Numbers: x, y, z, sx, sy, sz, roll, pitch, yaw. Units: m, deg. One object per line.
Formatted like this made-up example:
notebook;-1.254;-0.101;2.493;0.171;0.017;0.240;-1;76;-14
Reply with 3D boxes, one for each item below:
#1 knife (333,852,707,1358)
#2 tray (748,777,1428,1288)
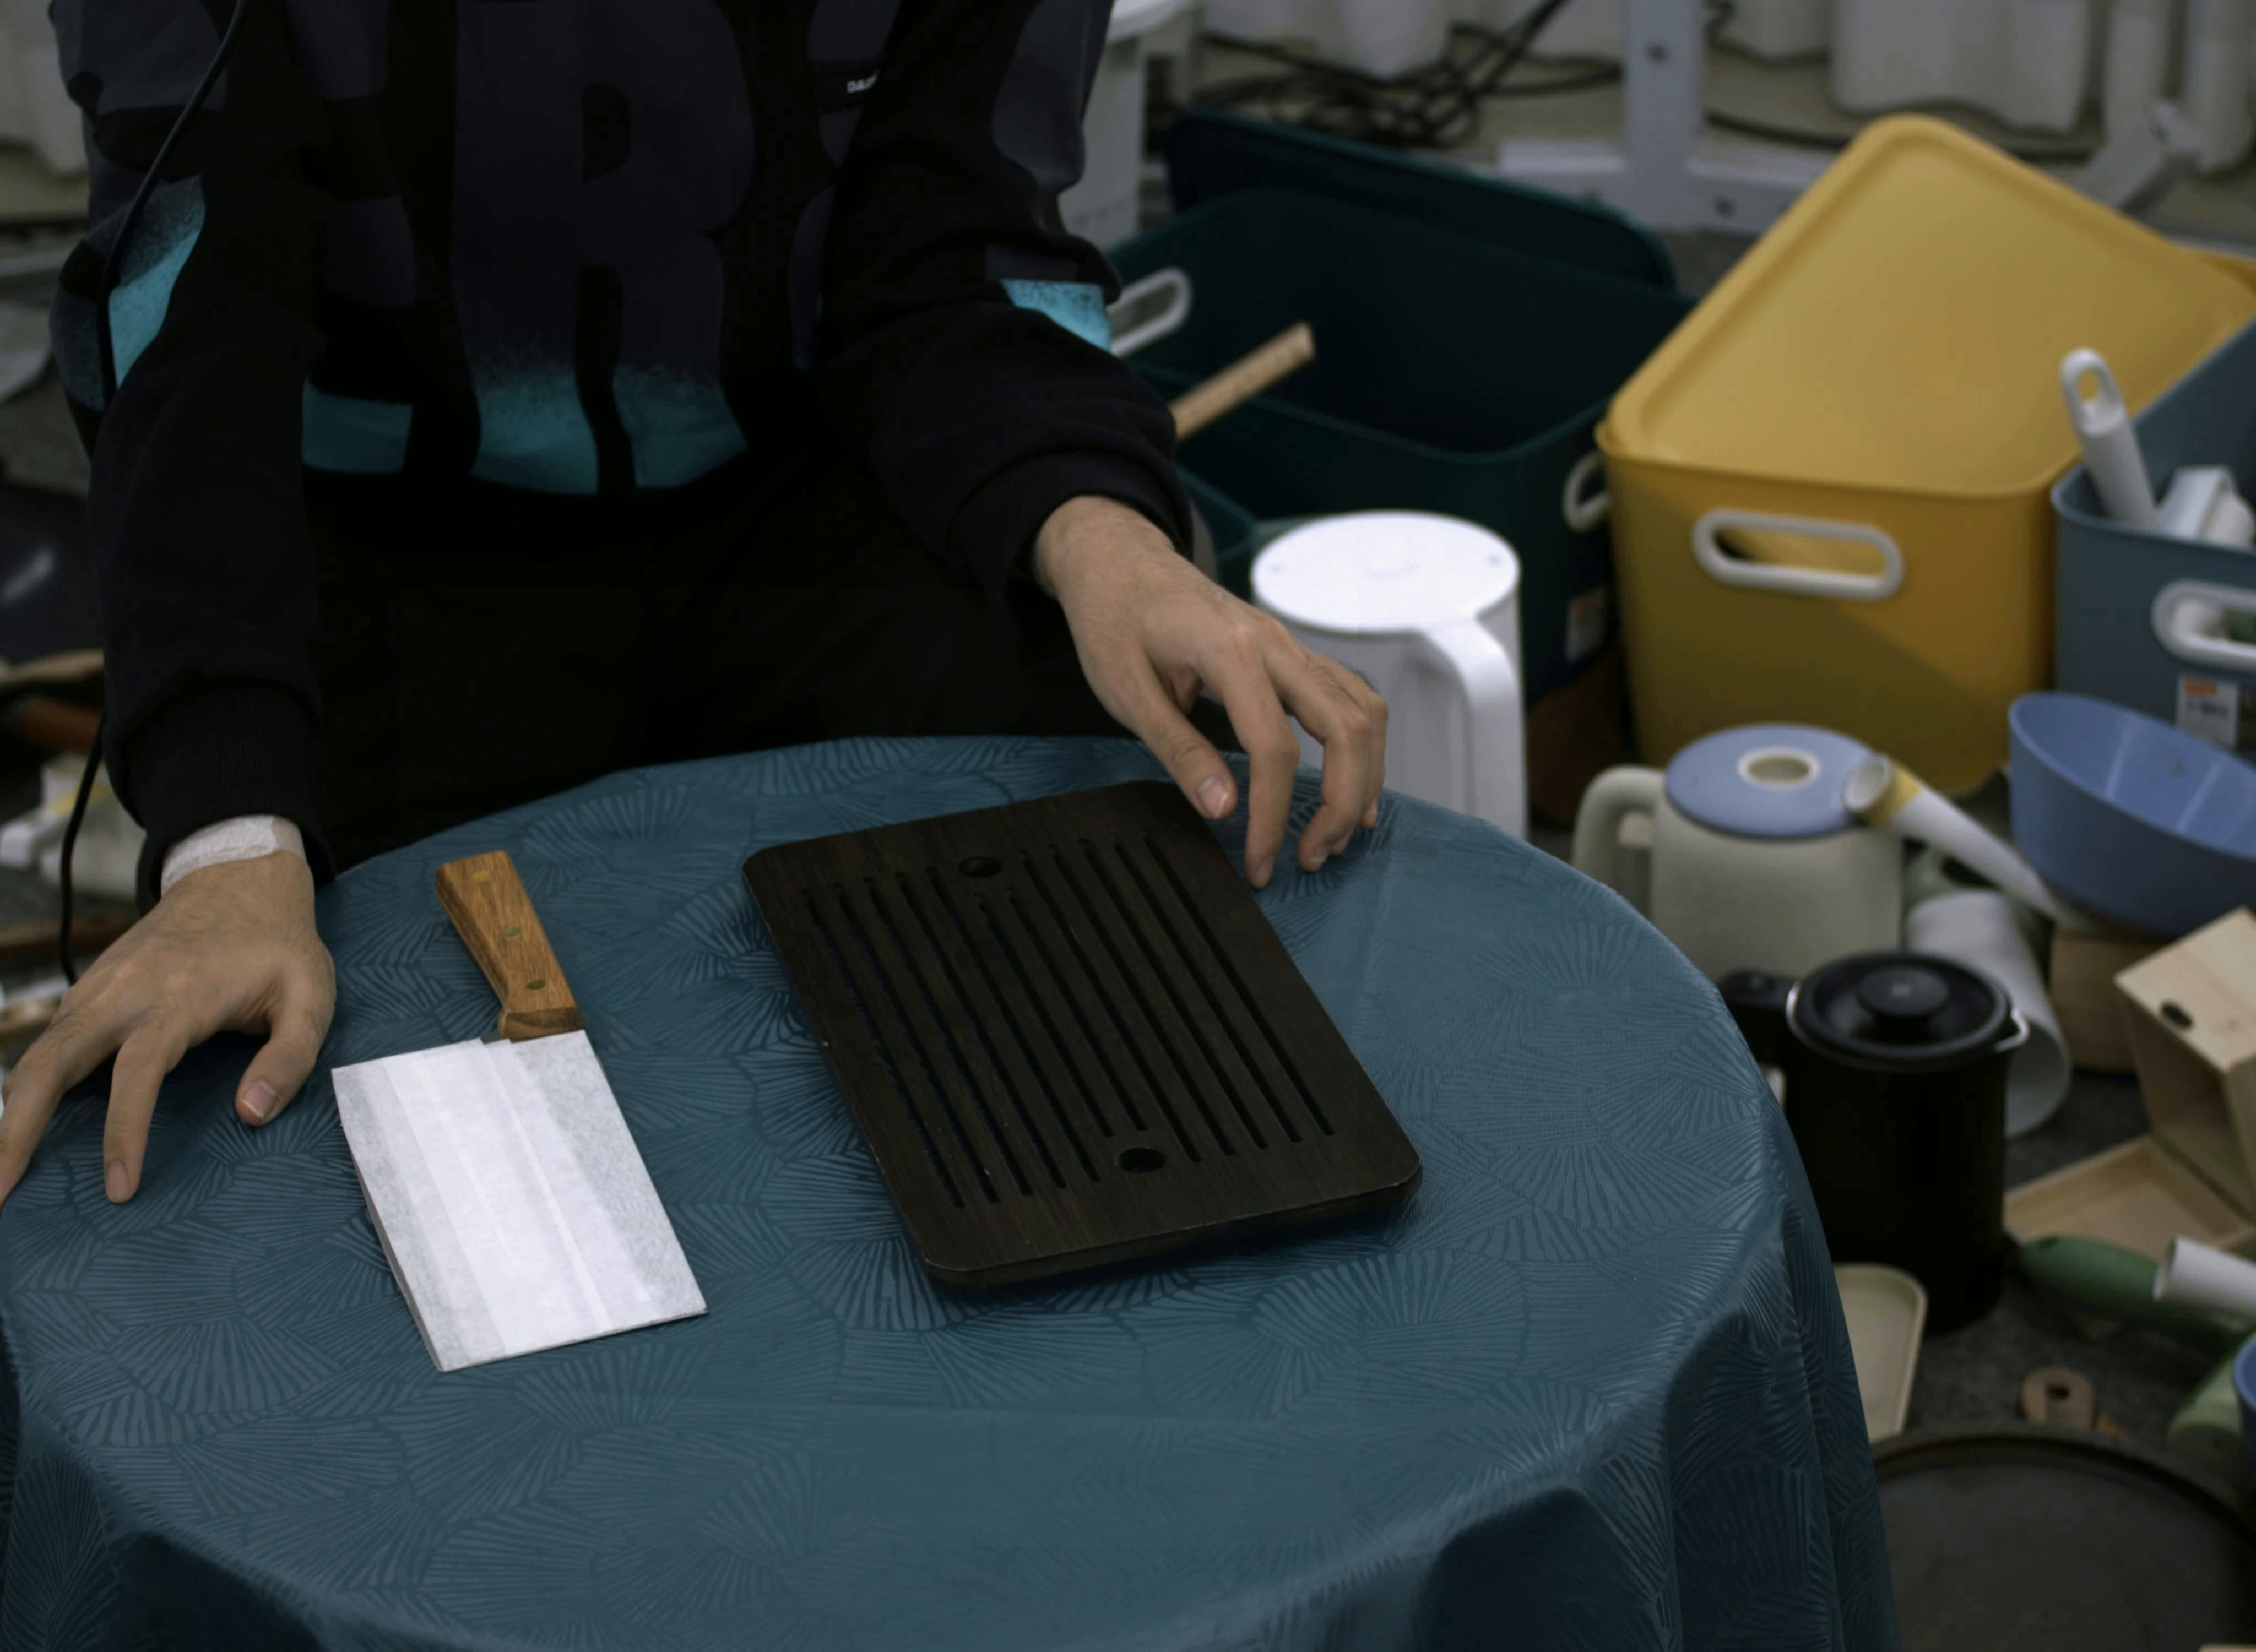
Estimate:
knife;-0.221;0.094;1.921;0.093;0.021;0.309;-12;31;-14
tray;-0.020;0.068;1.947;0.170;0.018;0.309;-10;28;-12
